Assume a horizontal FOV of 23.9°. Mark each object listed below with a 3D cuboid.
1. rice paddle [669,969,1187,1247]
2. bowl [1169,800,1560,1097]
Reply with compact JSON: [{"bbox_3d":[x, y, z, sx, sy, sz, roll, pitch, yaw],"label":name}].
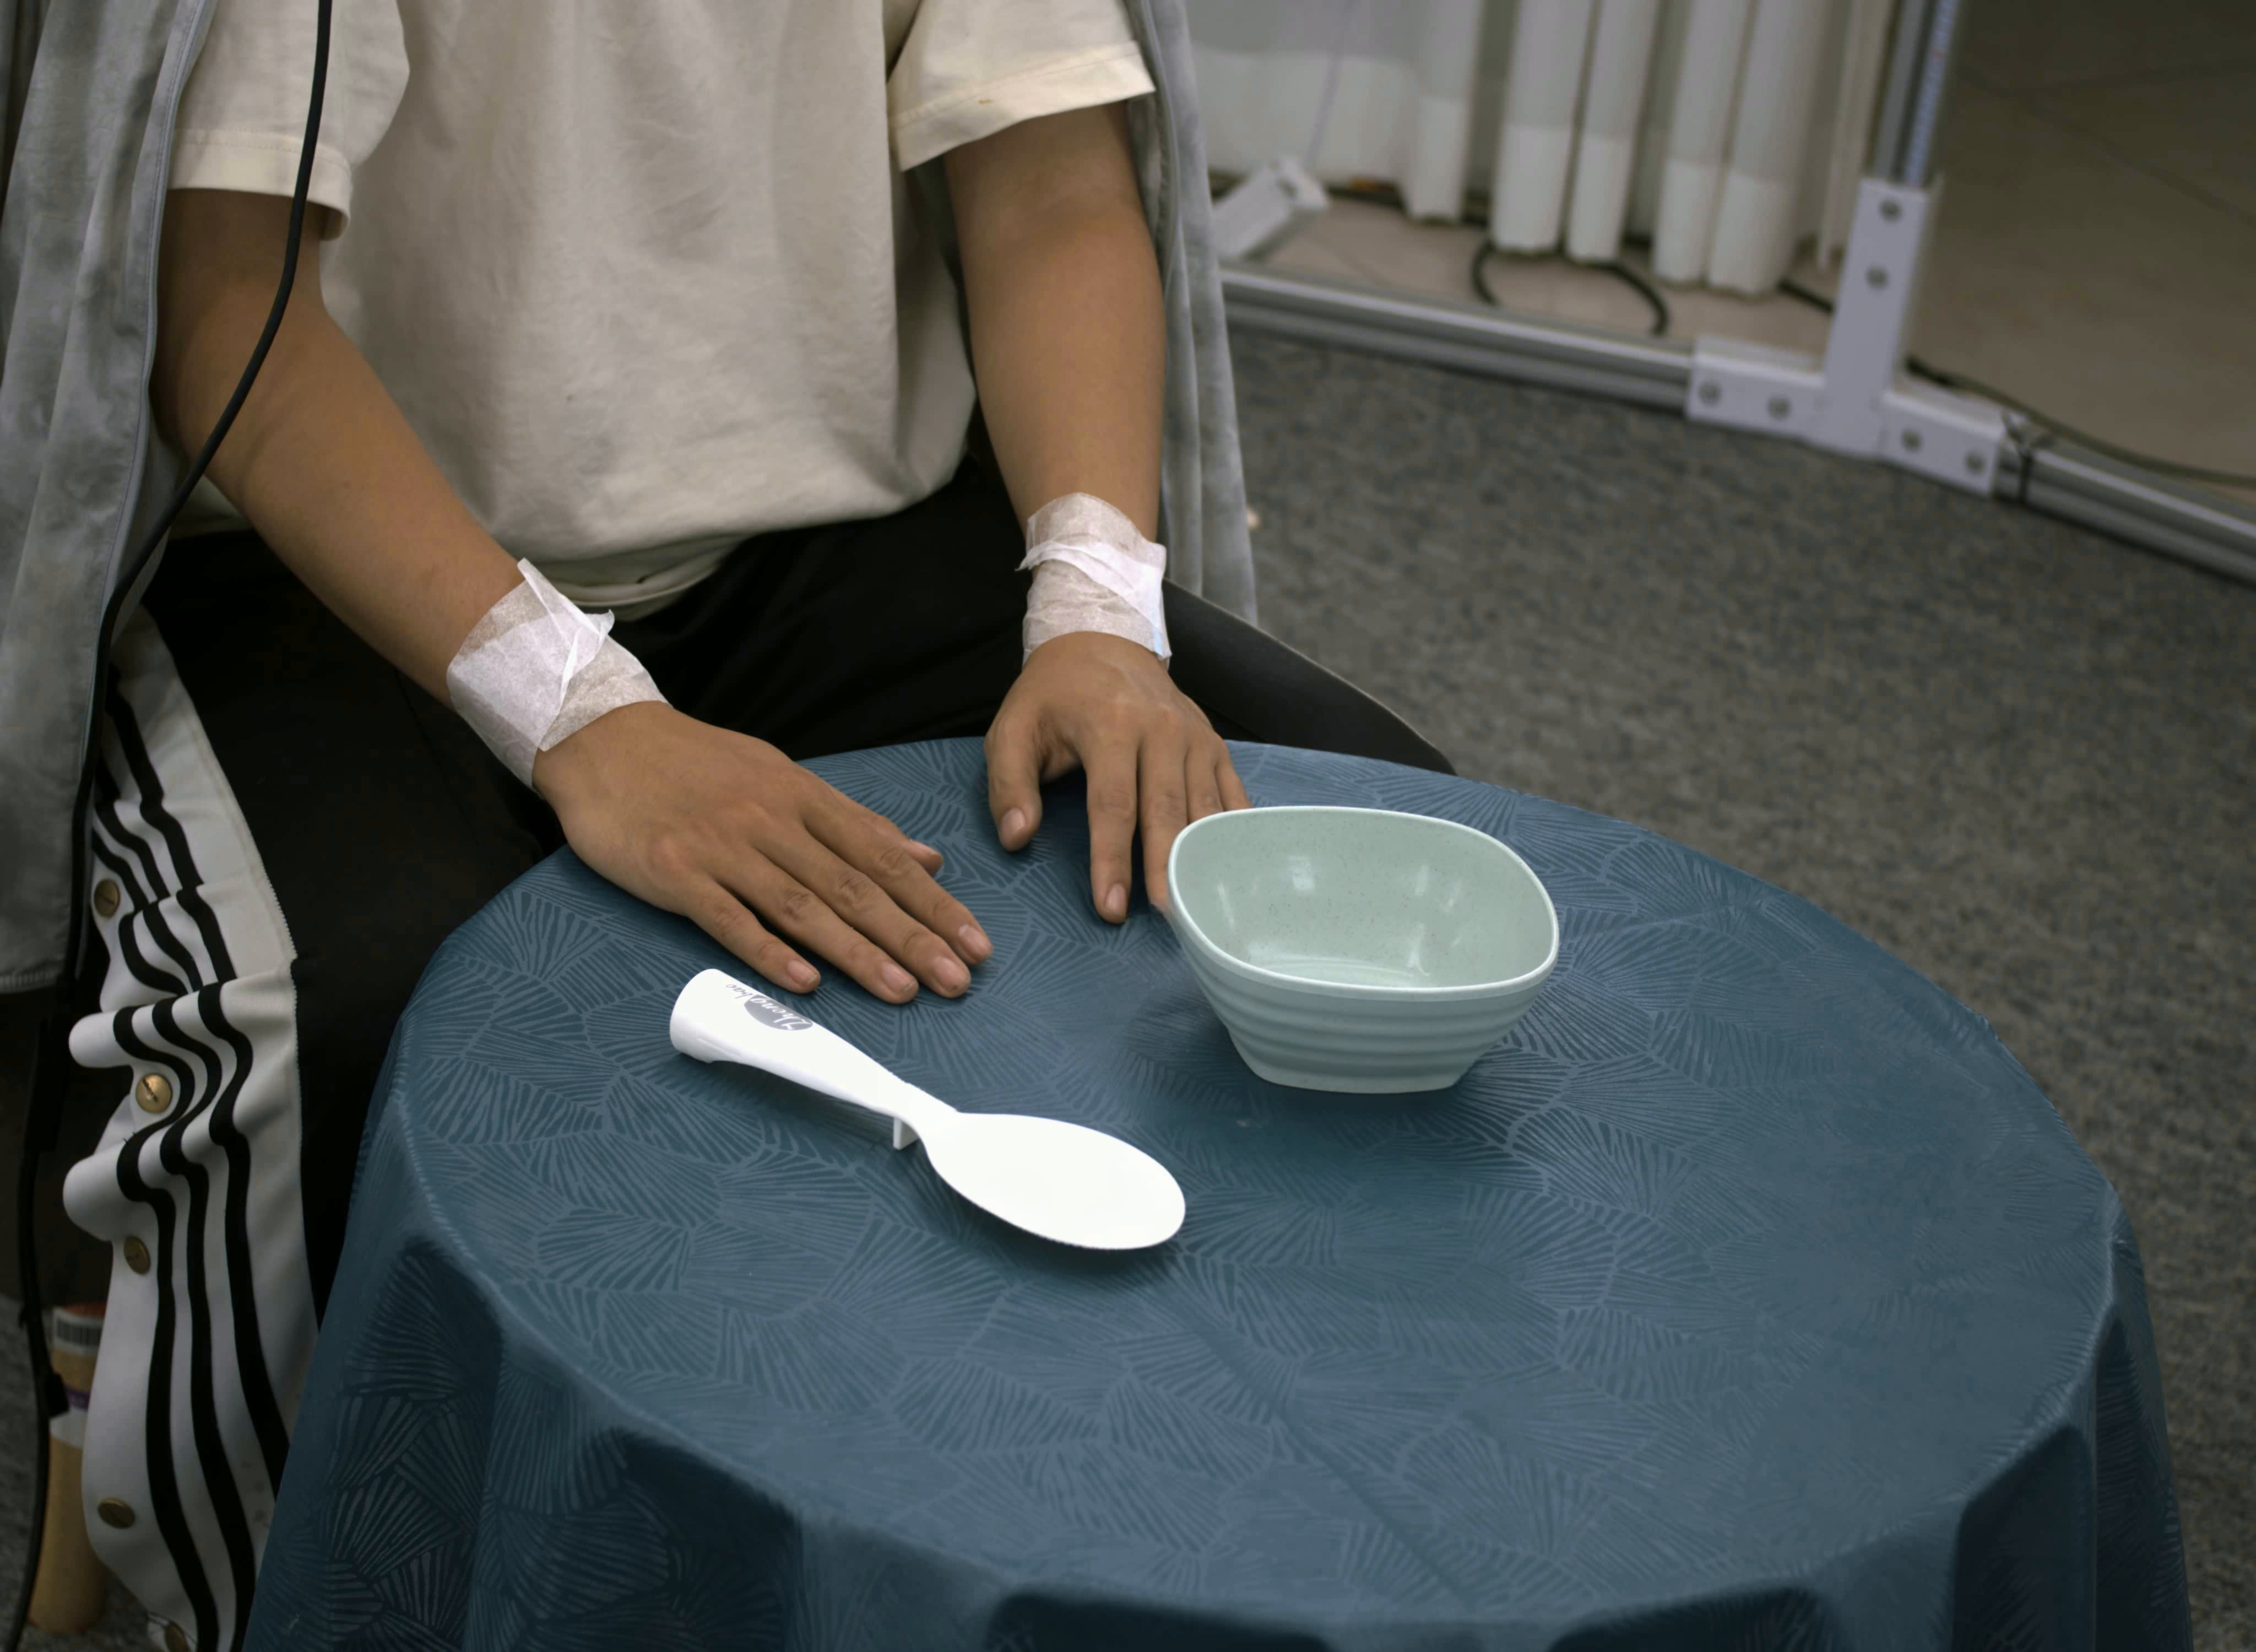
[{"bbox_3d":[-0.068,0.097,1.808,0.206,0.029,0.068,23,33,29],"label":"rice paddle"},{"bbox_3d":[0.081,0.050,1.906,0.151,0.058,0.152,5,29,-3],"label":"bowl"}]
